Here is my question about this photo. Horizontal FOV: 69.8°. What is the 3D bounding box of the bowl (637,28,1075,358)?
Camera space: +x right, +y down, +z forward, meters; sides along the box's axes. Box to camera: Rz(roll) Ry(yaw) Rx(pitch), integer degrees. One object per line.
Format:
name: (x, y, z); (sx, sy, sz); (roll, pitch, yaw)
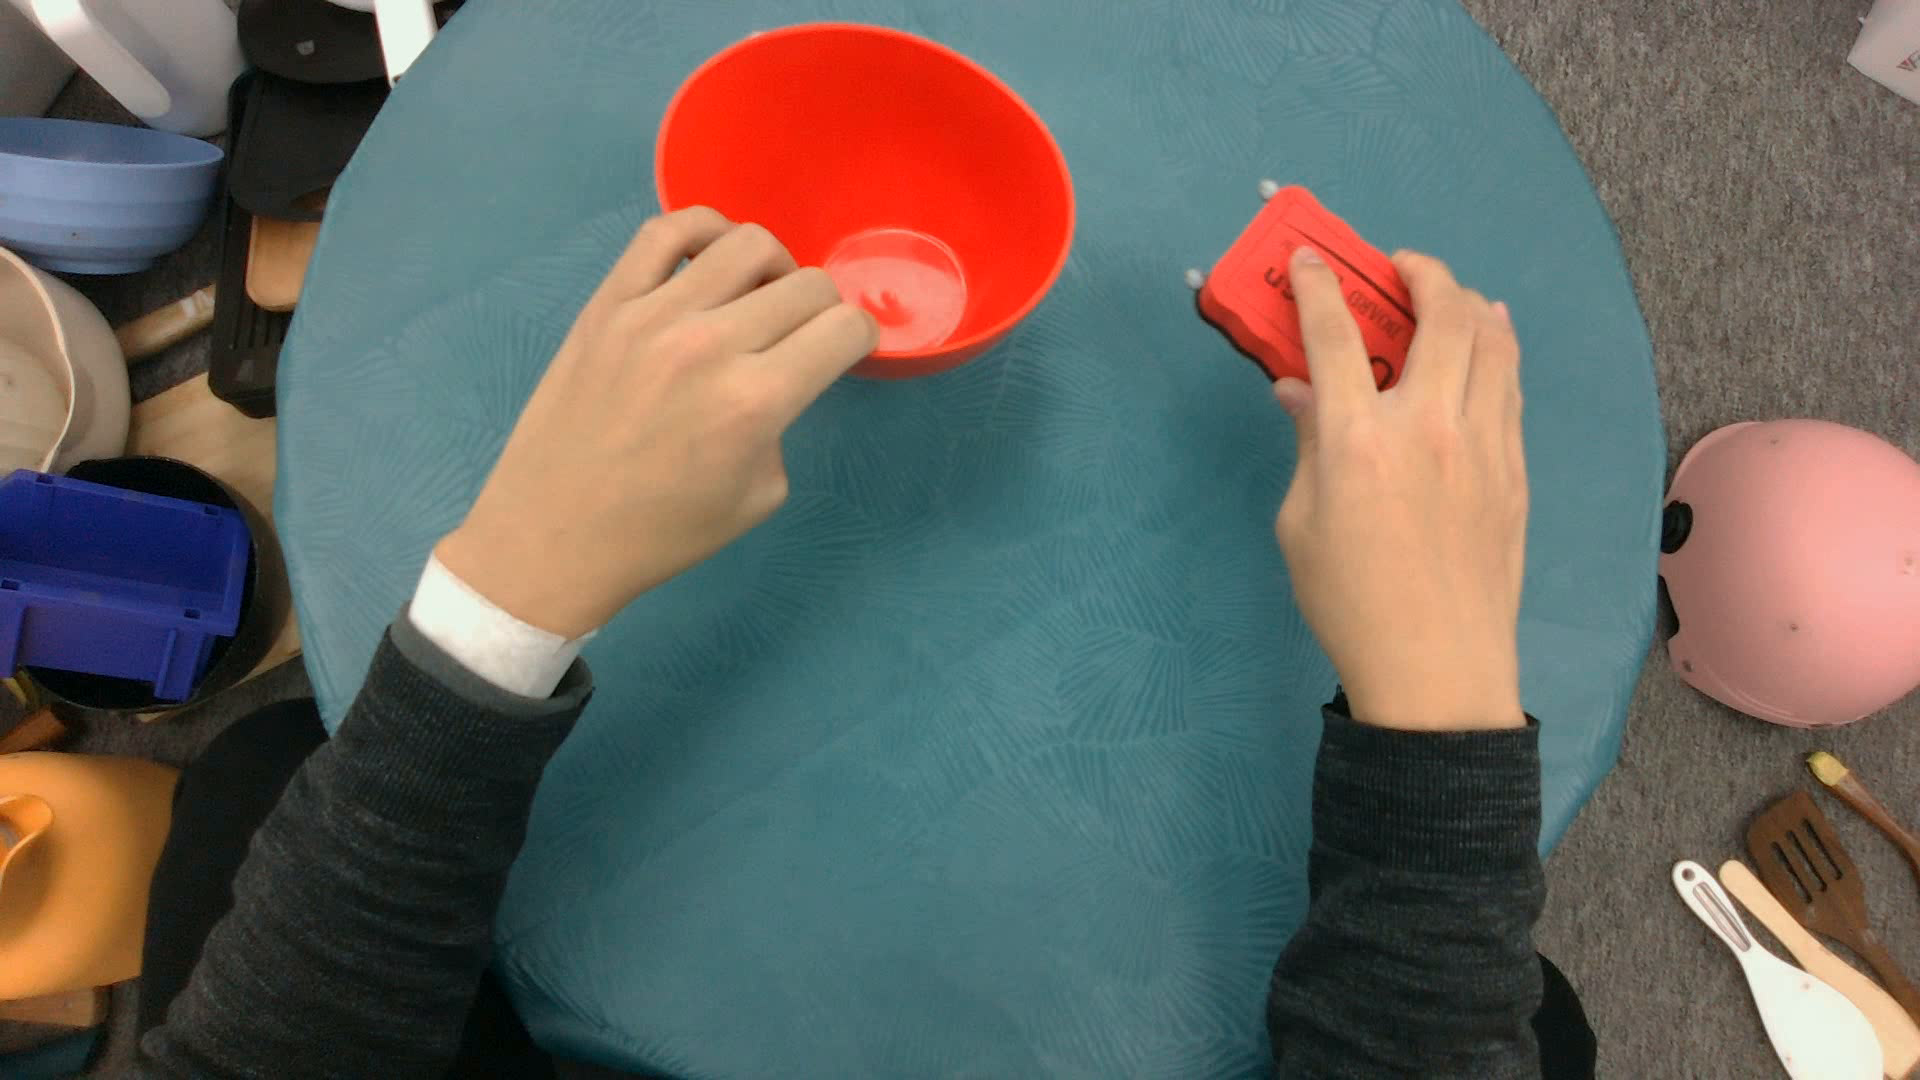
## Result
bowl: (-0.034, -0.122, 0.495); (0.148, 0.104, 0.148); (0, 40, 0)

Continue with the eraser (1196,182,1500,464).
eraser: (0.147, -0.082, 0.524); (0.108, 0.023, 0.059); (41, 77, 2)
